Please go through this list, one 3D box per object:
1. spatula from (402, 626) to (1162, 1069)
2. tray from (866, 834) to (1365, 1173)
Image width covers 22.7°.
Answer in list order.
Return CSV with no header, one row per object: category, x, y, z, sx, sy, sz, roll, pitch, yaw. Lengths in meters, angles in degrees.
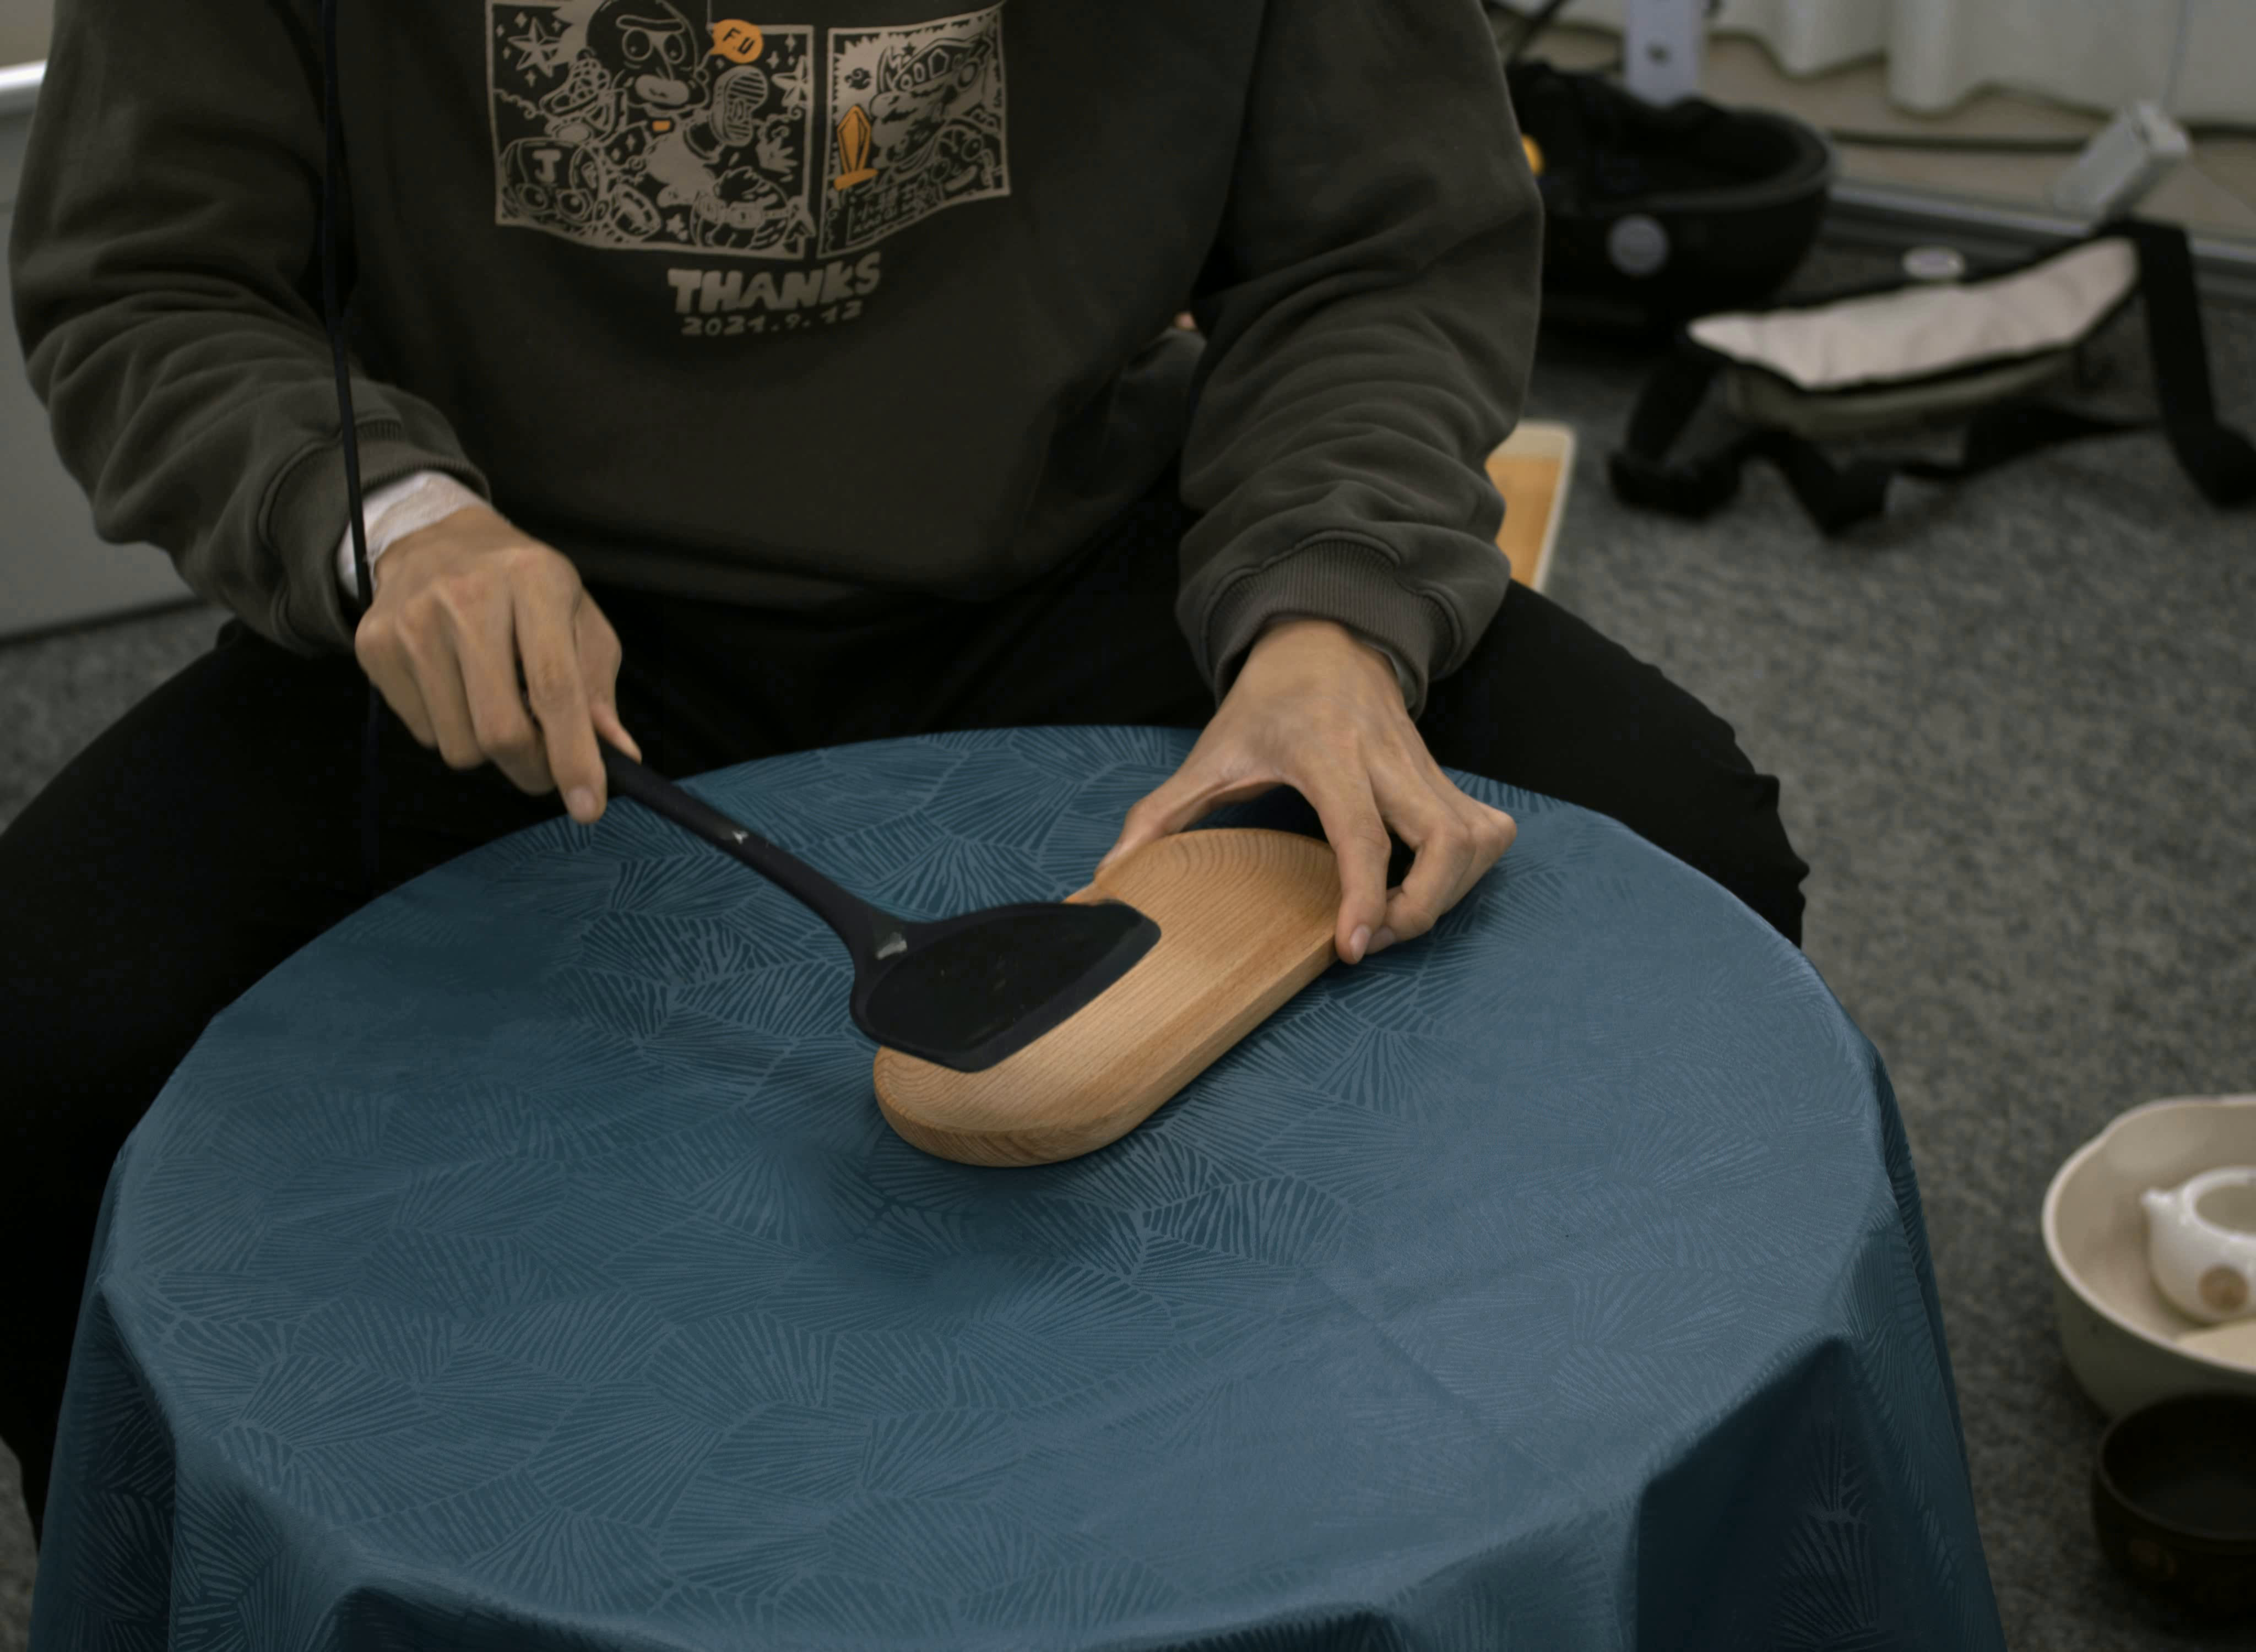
spatula,-0.135,-0.004,1.917,0.326,0.040,0.101,32,48,29
tray,-0.002,0.060,1.961,0.101,0.020,0.235,14,33,31
